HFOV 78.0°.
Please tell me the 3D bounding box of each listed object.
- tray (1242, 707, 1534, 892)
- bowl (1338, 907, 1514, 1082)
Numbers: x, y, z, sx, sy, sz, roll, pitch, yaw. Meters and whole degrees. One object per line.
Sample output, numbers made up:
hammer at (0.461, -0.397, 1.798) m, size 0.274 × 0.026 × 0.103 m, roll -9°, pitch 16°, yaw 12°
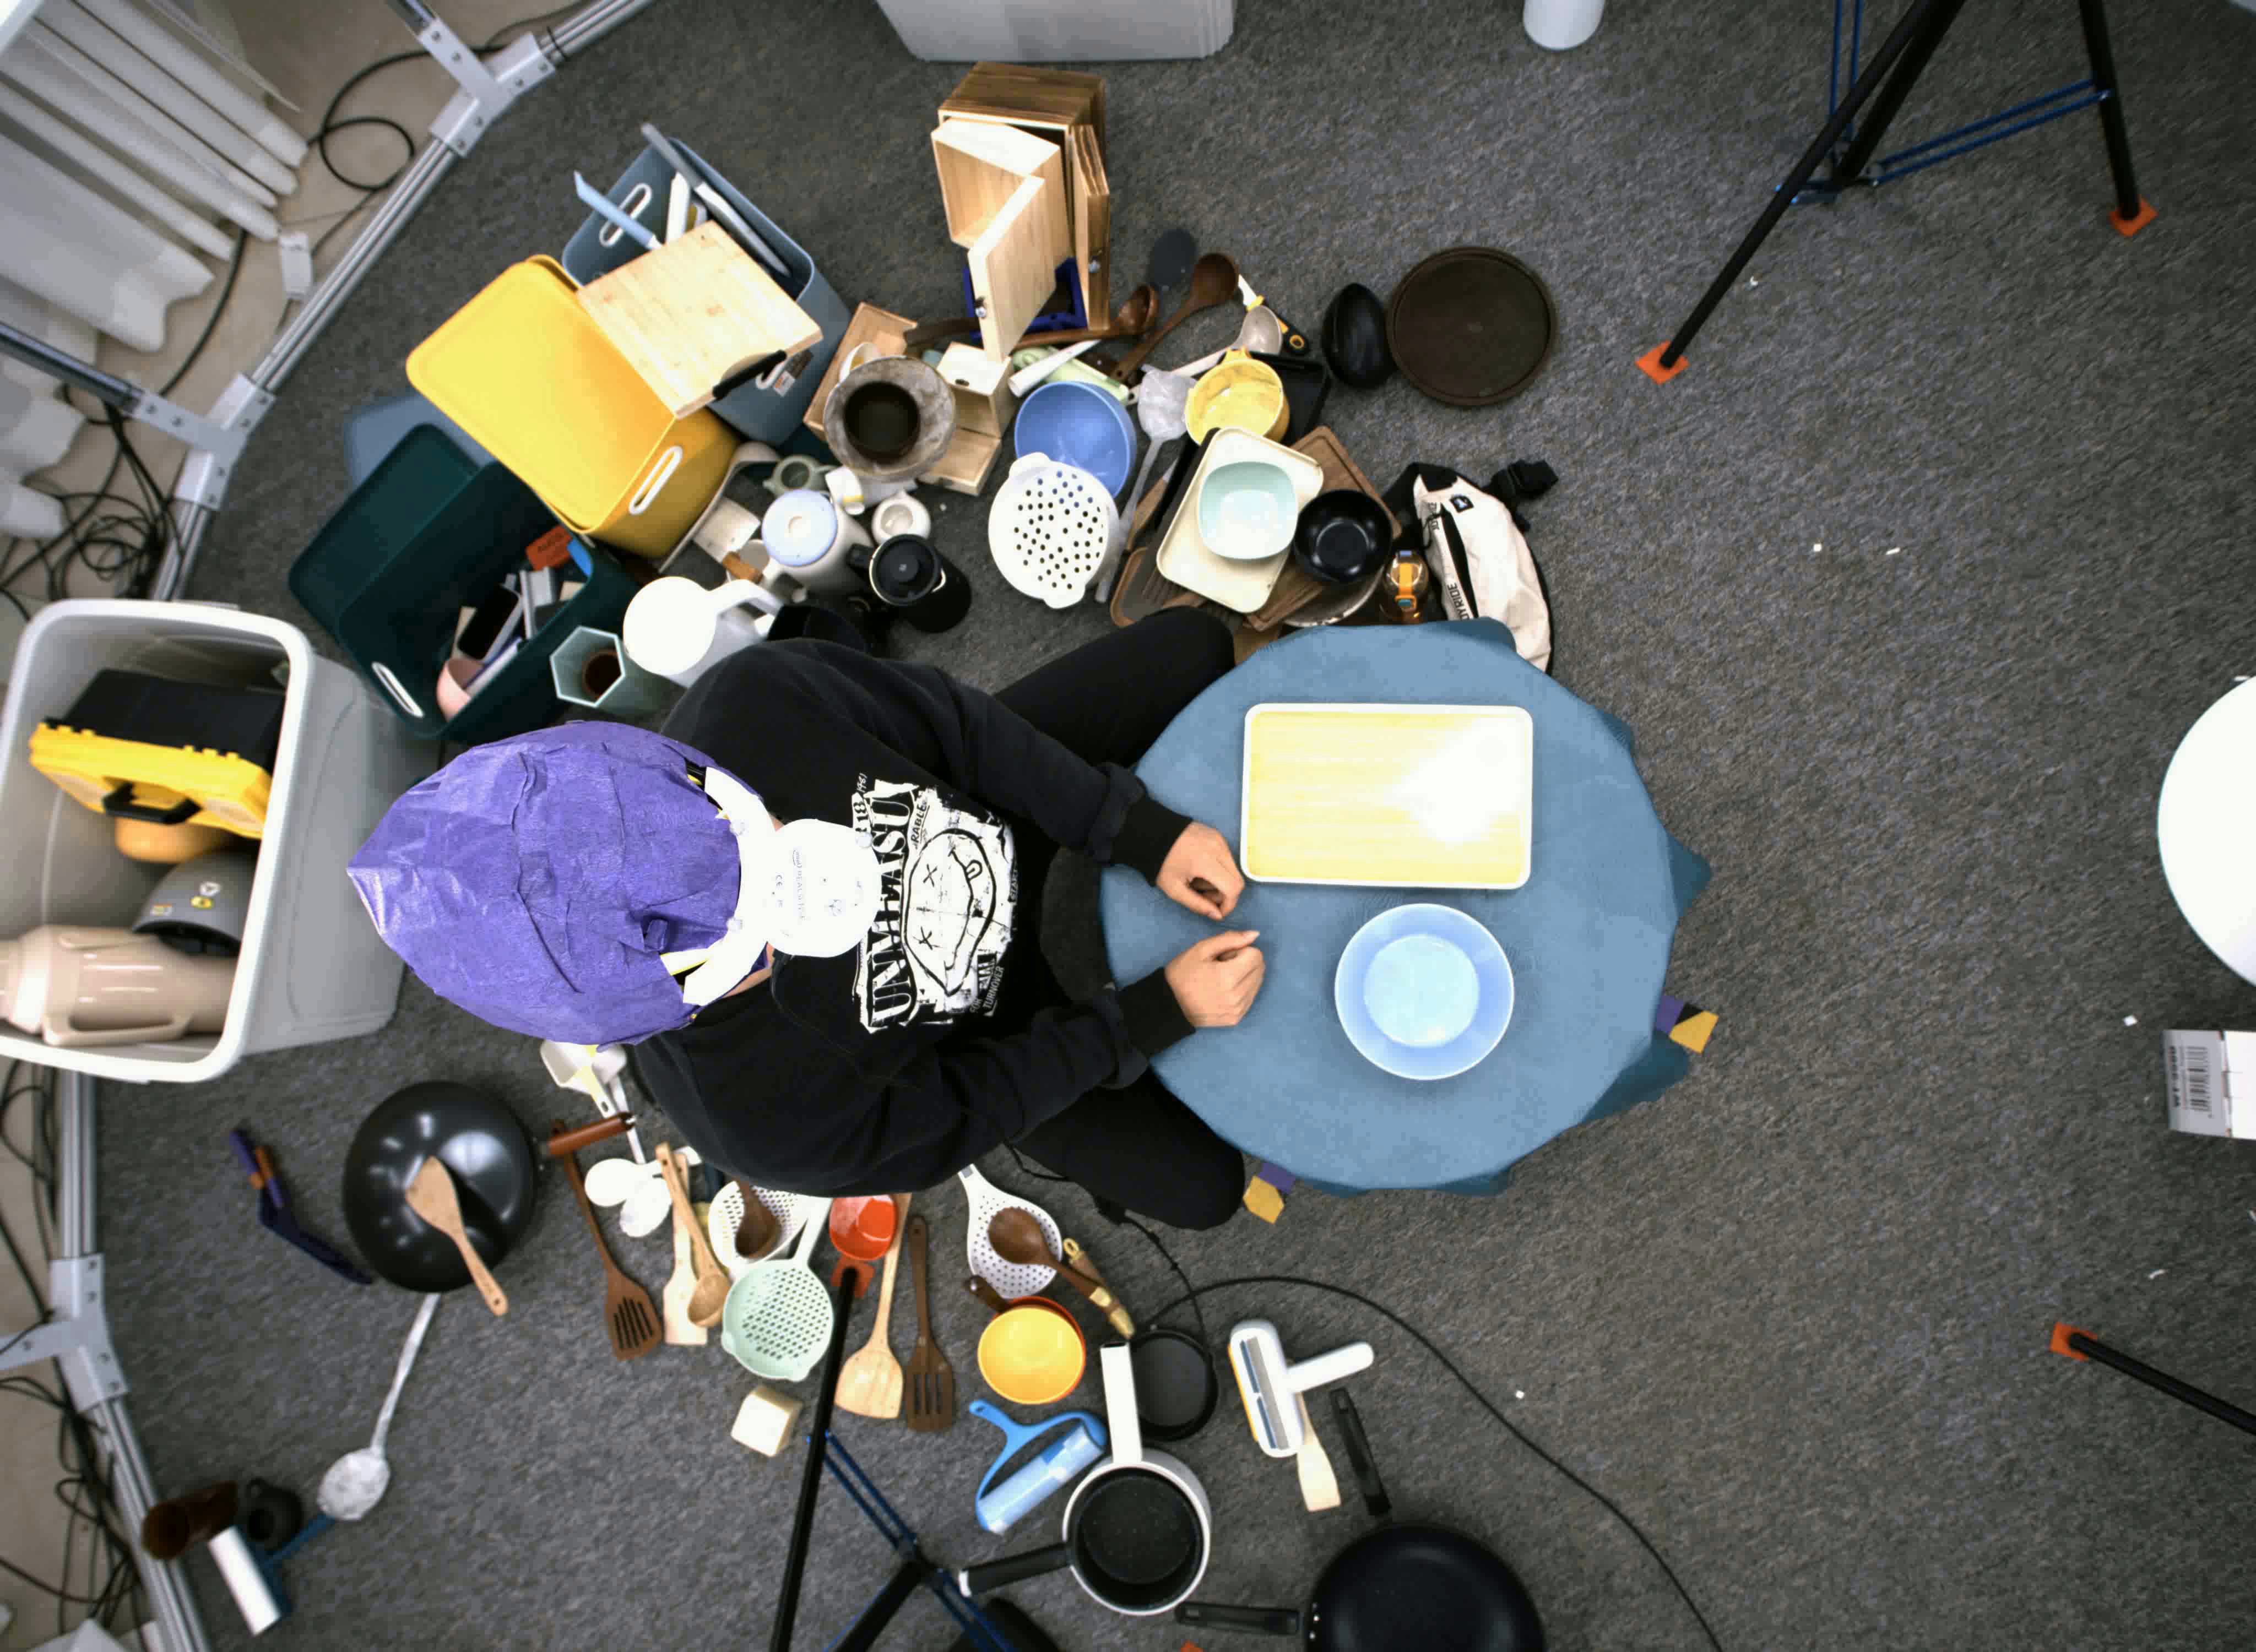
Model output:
tray at (0.274, -0.030, 1.458) m, size 0.301 × 0.027 × 0.190 m, roll 1°, pitch 86°, yaw 10°
bowl at (0.303, 0.171, 1.416) m, size 0.177 × 0.070 × 0.175 m, roll -1°, pitch 84°, yaw 10°
